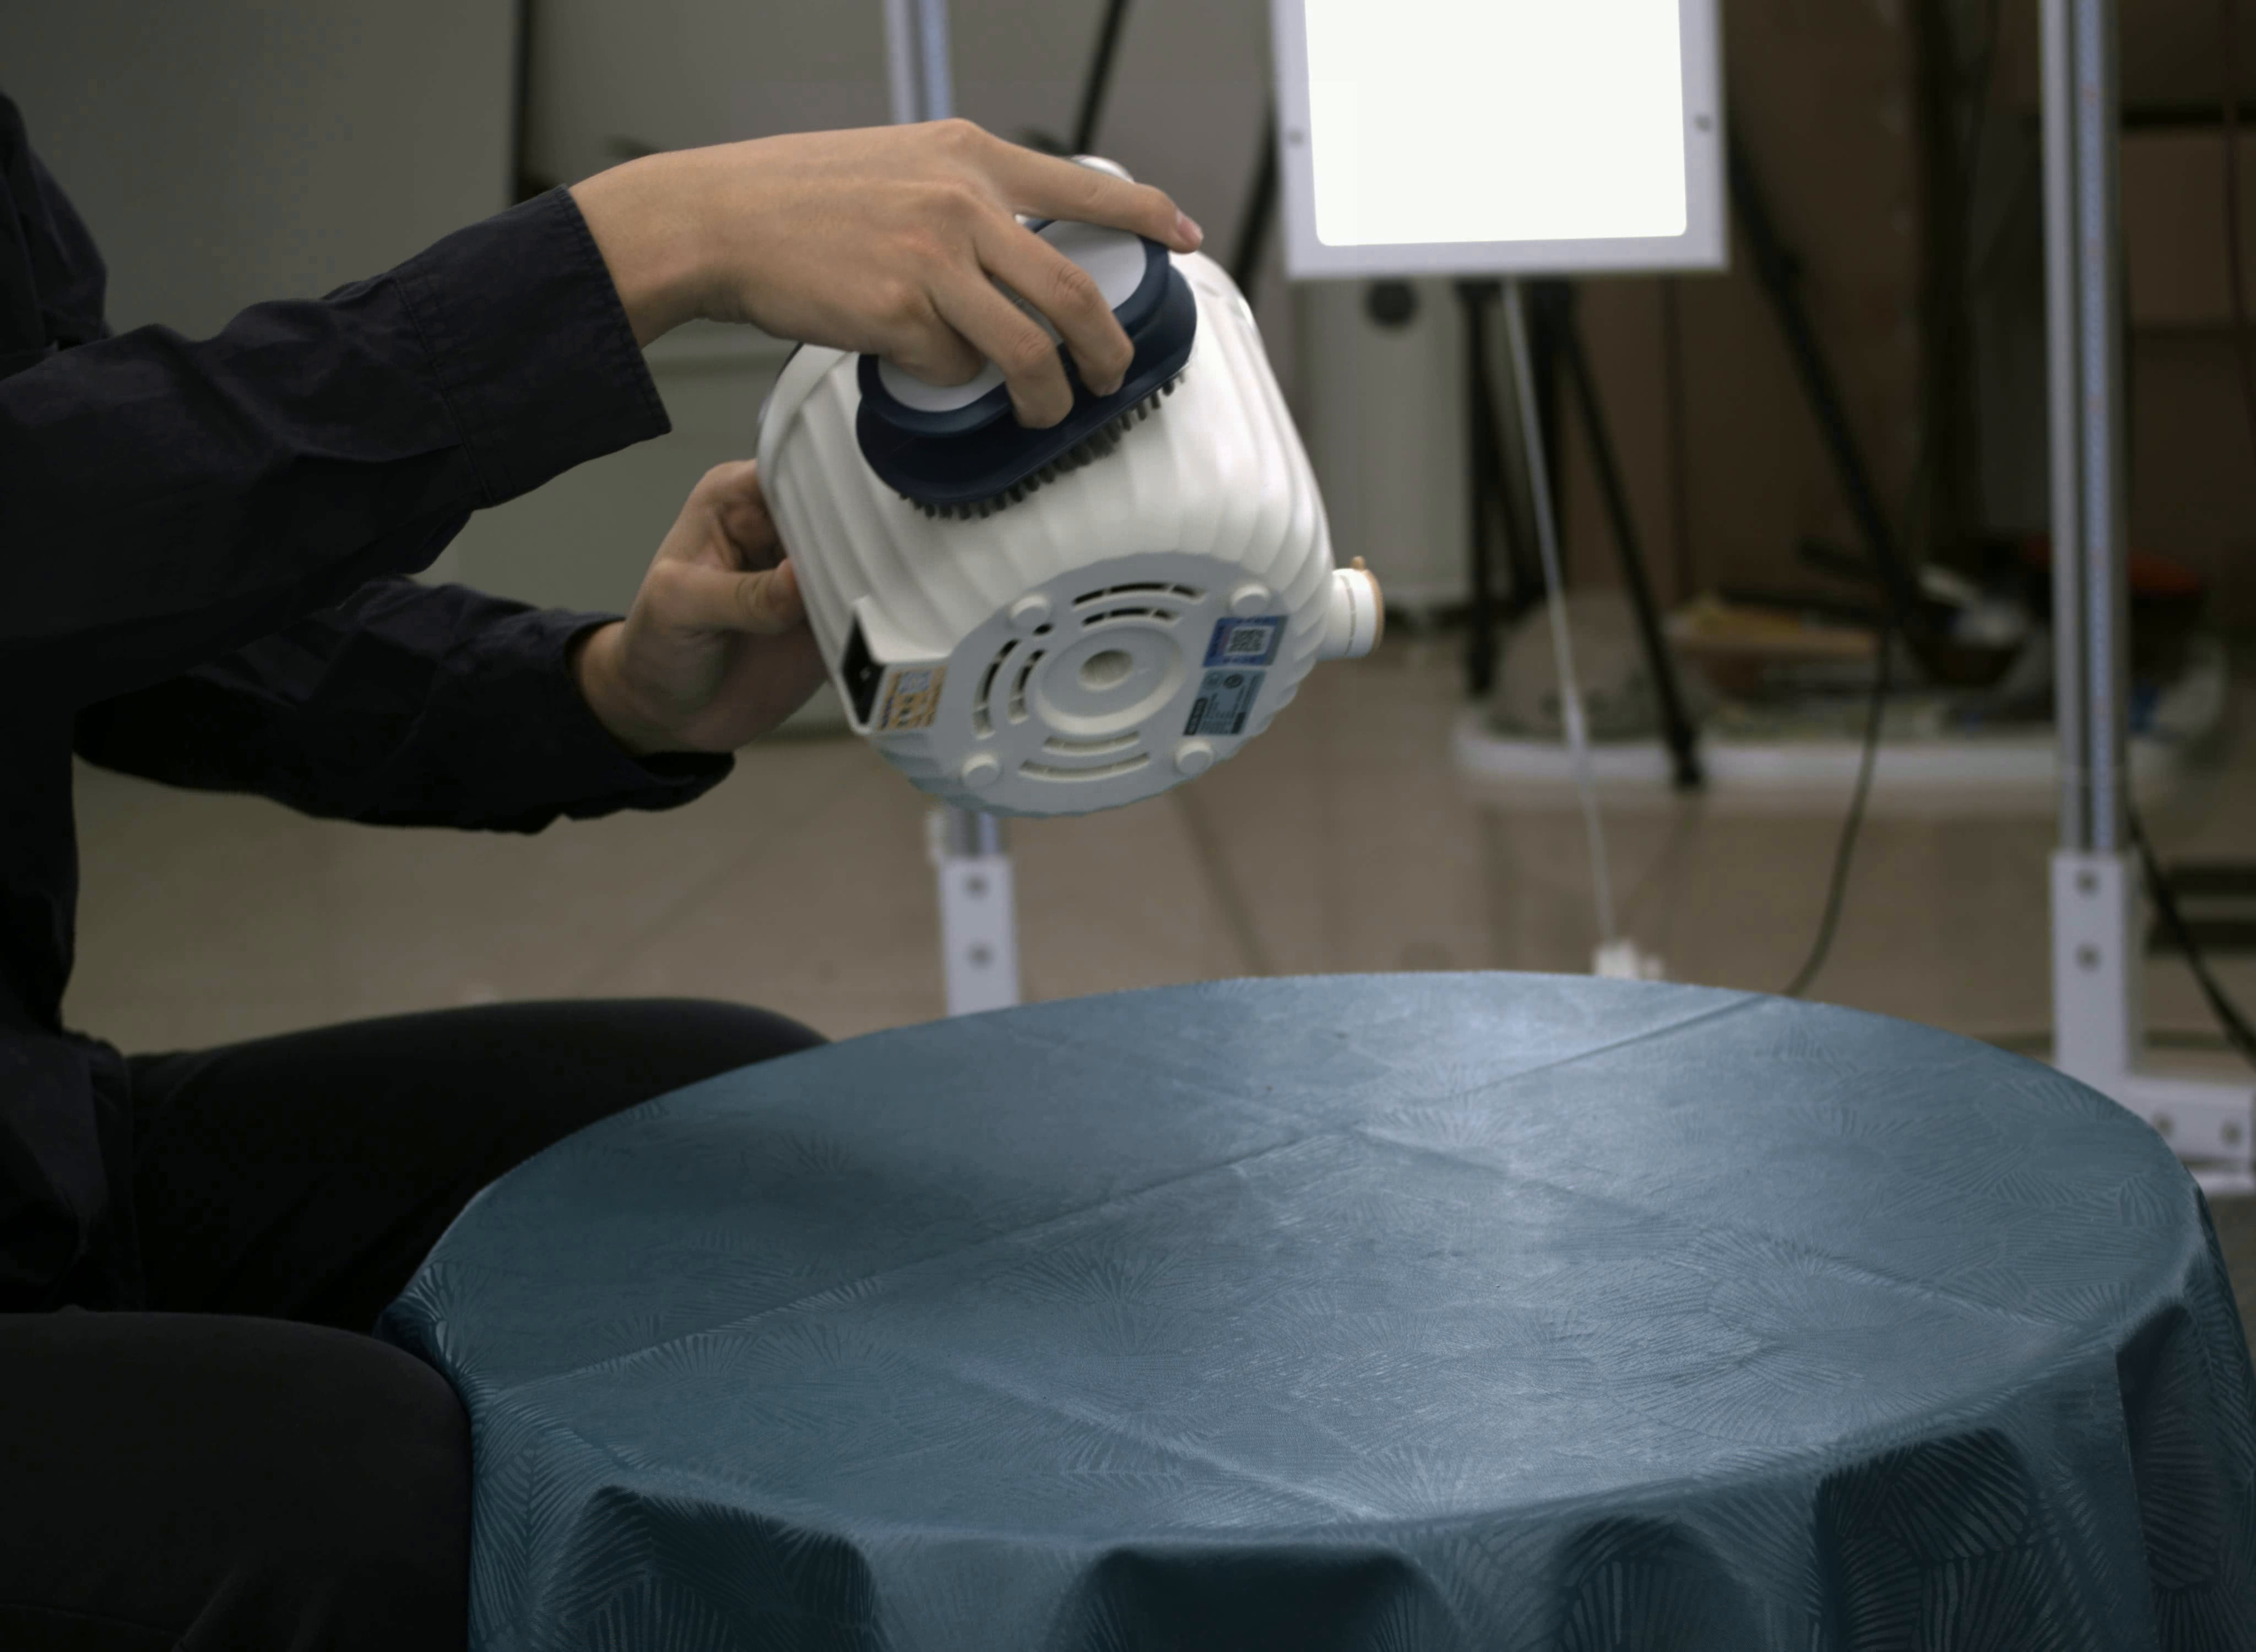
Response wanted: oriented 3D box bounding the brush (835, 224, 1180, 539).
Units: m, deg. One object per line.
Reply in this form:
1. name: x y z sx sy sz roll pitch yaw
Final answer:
1. brush: -0.038 -0.140 1.768 0.120 0.061 0.068 -30 60 -9

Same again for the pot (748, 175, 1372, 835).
1. pot: -0.021 -0.090 1.888 0.187 0.243 0.143 -5 52 -22
